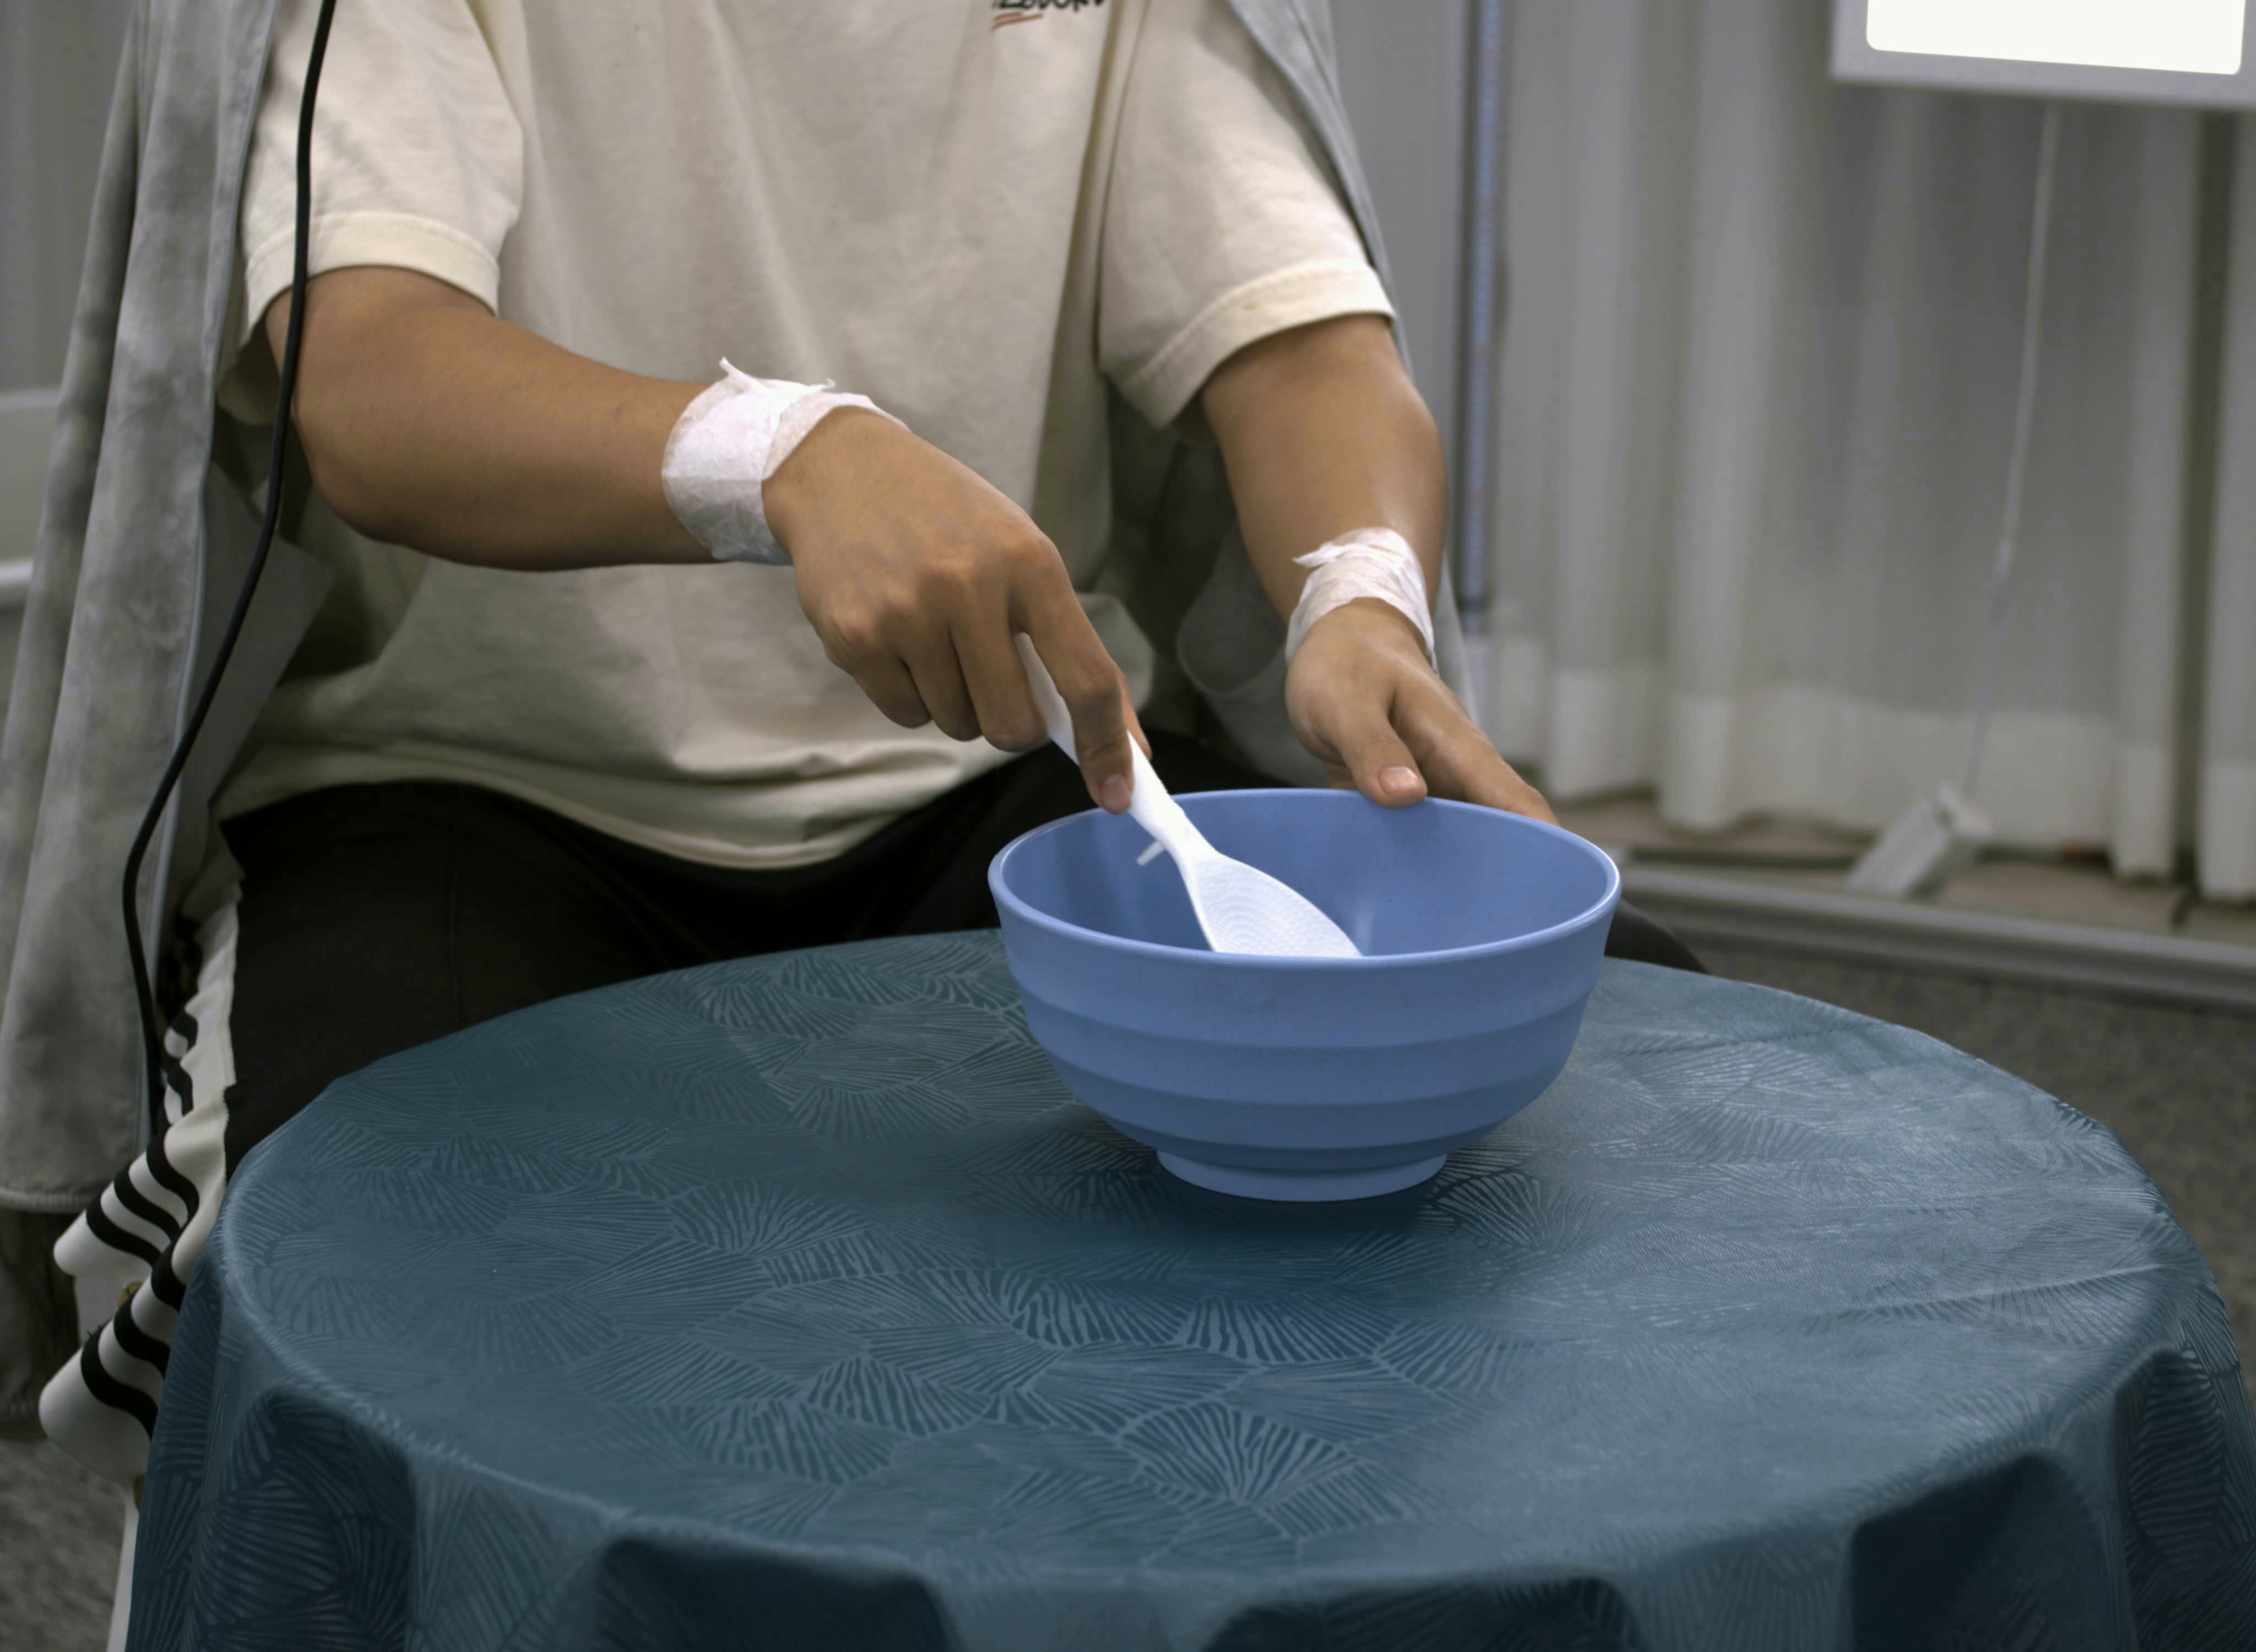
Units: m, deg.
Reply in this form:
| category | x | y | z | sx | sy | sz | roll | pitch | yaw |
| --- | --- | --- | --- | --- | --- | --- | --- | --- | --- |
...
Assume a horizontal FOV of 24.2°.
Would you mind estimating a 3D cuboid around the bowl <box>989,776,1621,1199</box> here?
| category | x | y | z | sx | sy | sz | roll | pitch | yaw |
| --- | --- | --- | --- | --- | --- | --- | --- | --- | --- |
| bowl | 0.055 | 0.056 | 1.647 | 0.196 | 0.096 | 0.195 | 0 | 18 | 0 |

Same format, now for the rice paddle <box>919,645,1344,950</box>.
| category | x | y | z | sx | sy | sz | roll | pitch | yaw |
| --- | --- | --- | --- | --- | --- | --- | --- | --- | --- |
| rice paddle | 0.021 | 0.016 | 1.685 | 0.206 | 0.029 | 0.068 | 39 | 21 | -12 |
